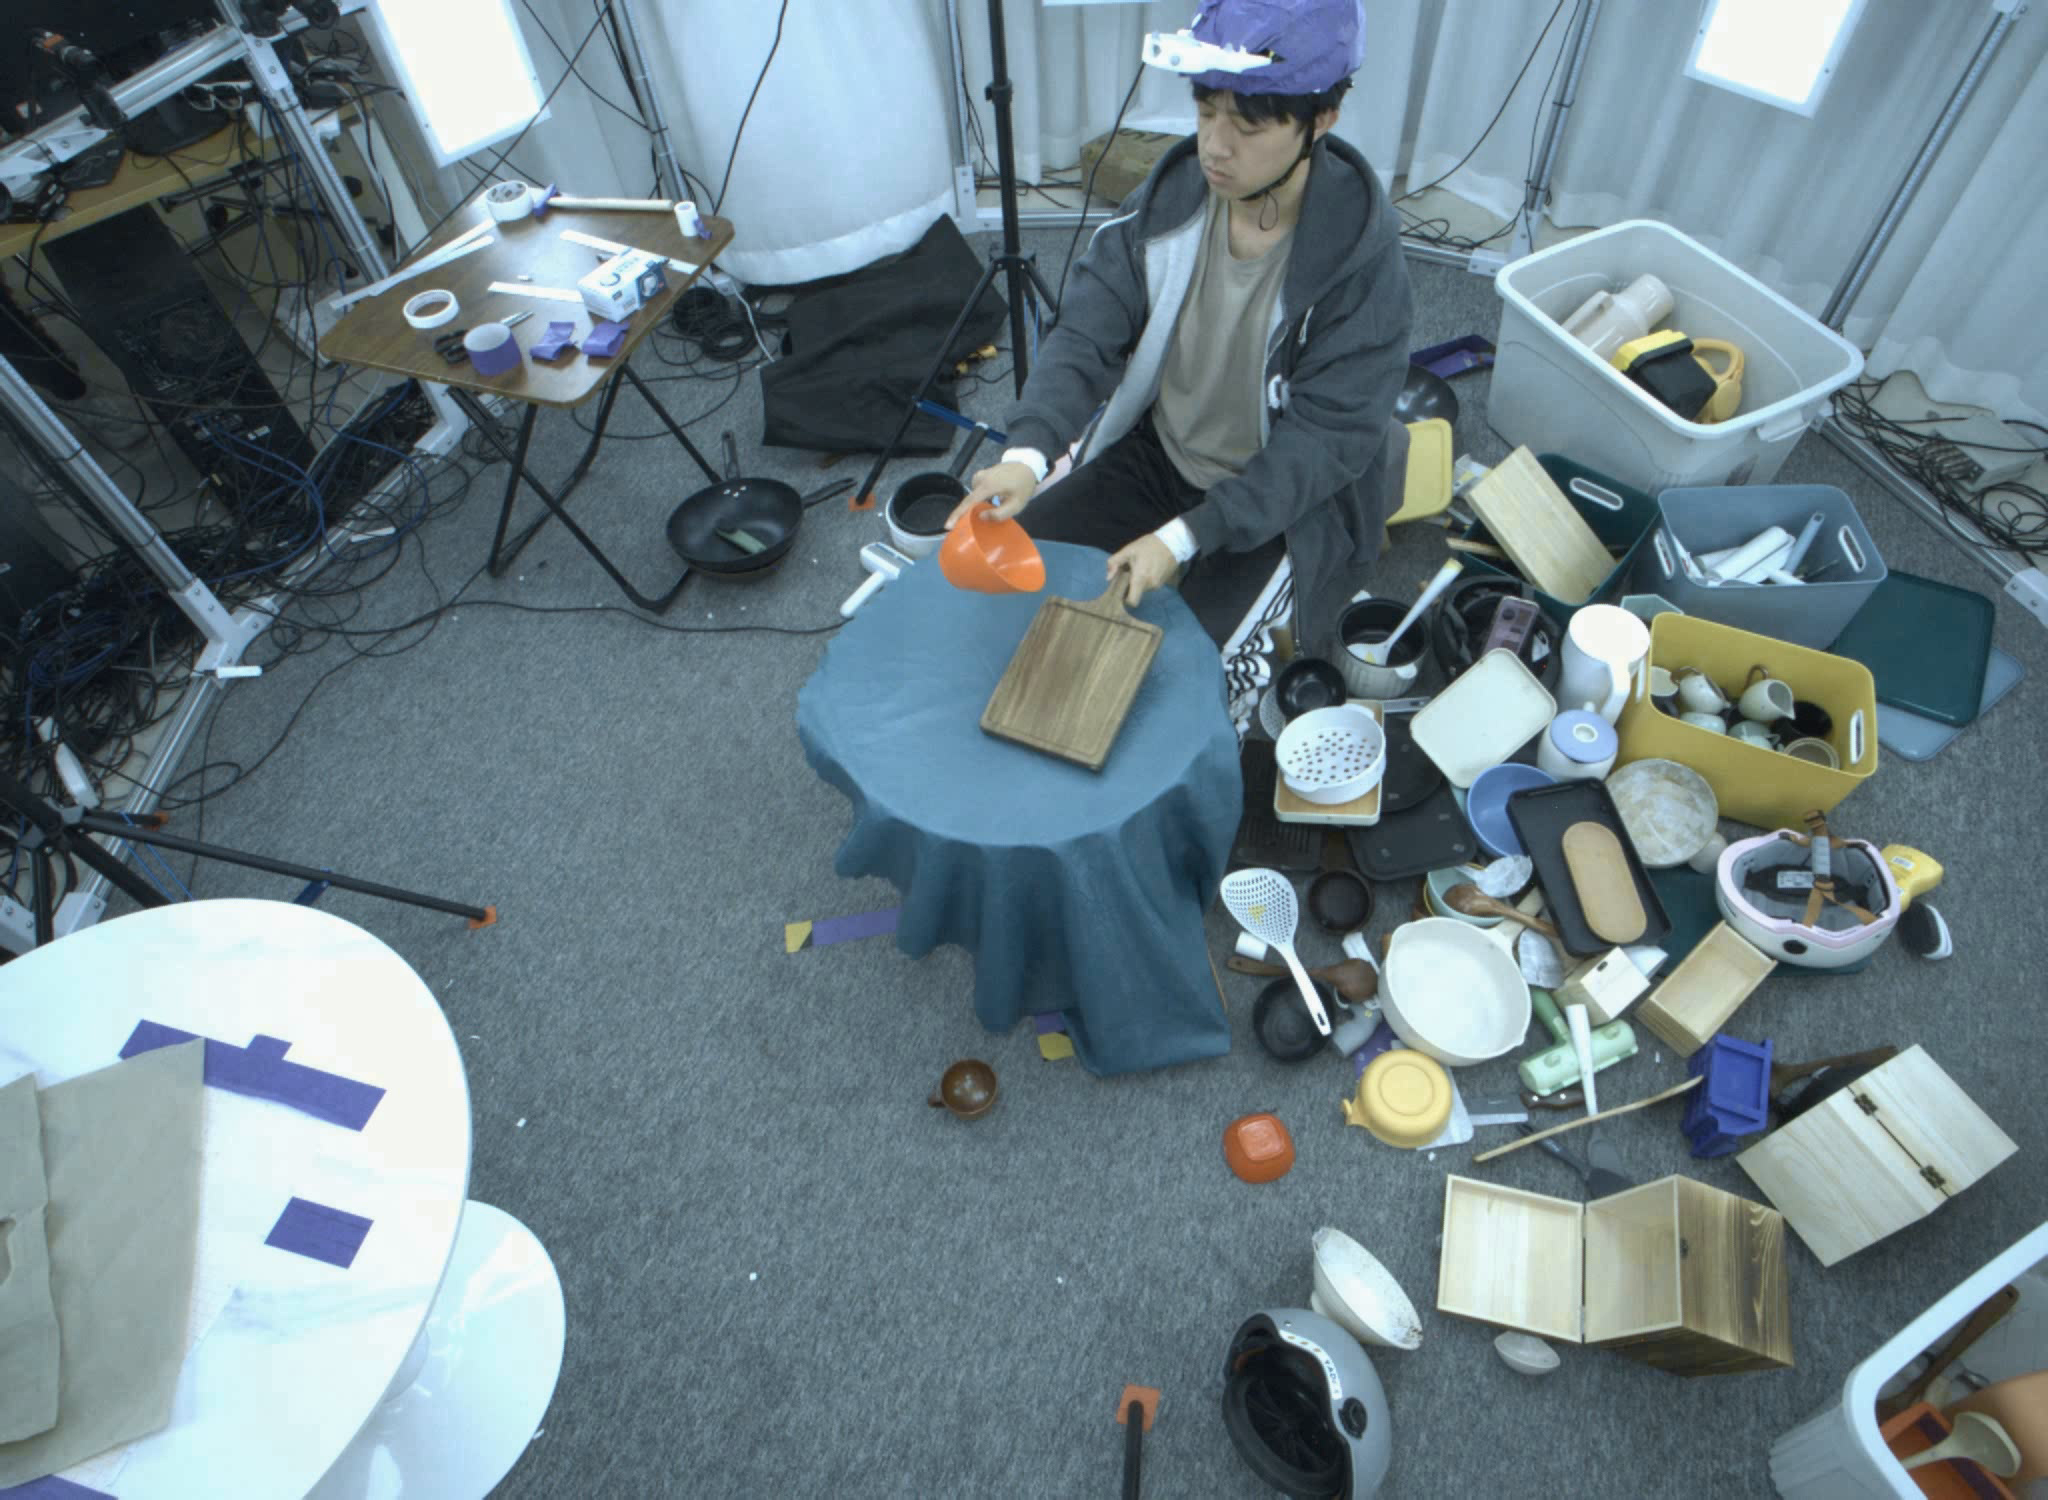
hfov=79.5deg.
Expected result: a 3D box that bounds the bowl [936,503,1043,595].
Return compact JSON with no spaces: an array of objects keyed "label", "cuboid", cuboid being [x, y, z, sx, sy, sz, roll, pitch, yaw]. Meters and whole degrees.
[{"label":"bowl","cuboid":[-0.059,-0.268,1.725,0.103,0.151,0.146,-23,49,30]}]

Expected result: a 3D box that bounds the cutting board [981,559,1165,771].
[{"label":"cutting board","cuboid":[0.094,-0.144,1.836,0.198,0.023,0.352,19,67,17]}]
